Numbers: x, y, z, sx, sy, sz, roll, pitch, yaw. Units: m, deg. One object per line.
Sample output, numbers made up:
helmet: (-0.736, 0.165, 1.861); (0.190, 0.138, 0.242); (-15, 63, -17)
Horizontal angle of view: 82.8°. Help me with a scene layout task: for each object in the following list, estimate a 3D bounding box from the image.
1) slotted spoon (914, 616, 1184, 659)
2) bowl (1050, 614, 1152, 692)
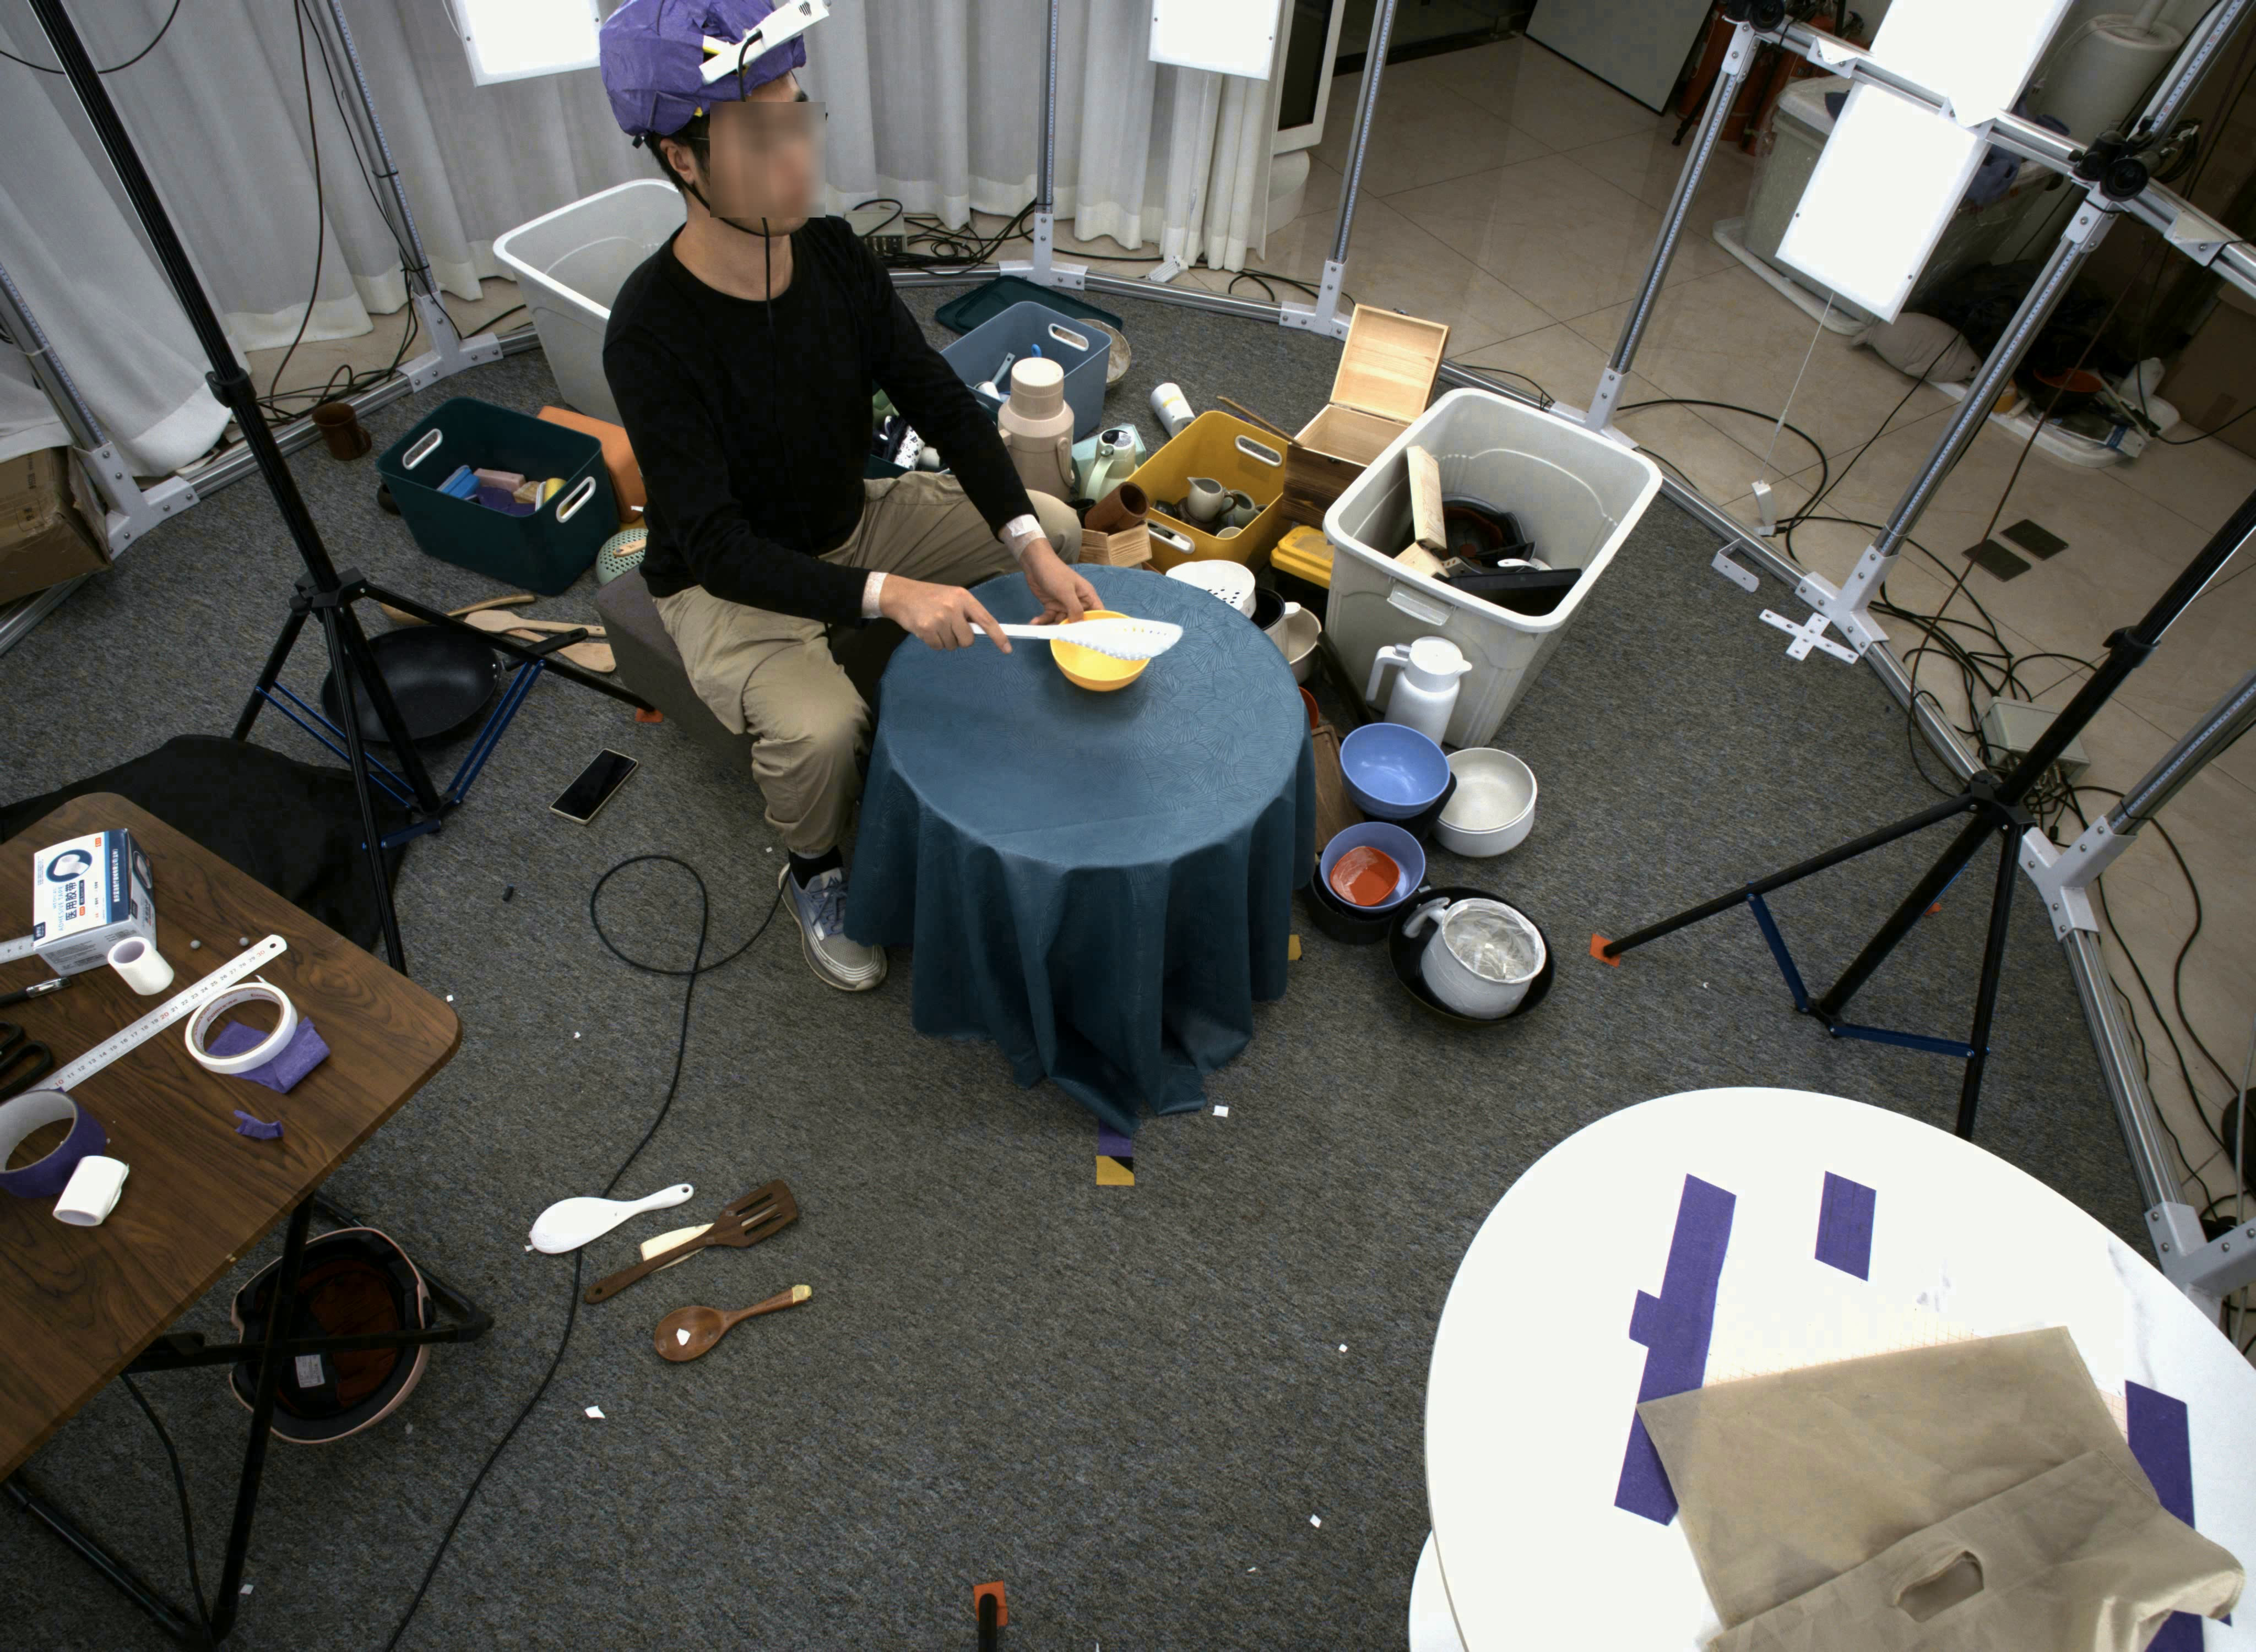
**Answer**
slotted spoon: (-0.103, -0.252, 1.660); (0.350, 0.135, 0.046); (7, 88, 7)
bowl: (-0.040, -0.236, 1.840); (0.145, 0.058, 0.149); (2, 46, -2)
